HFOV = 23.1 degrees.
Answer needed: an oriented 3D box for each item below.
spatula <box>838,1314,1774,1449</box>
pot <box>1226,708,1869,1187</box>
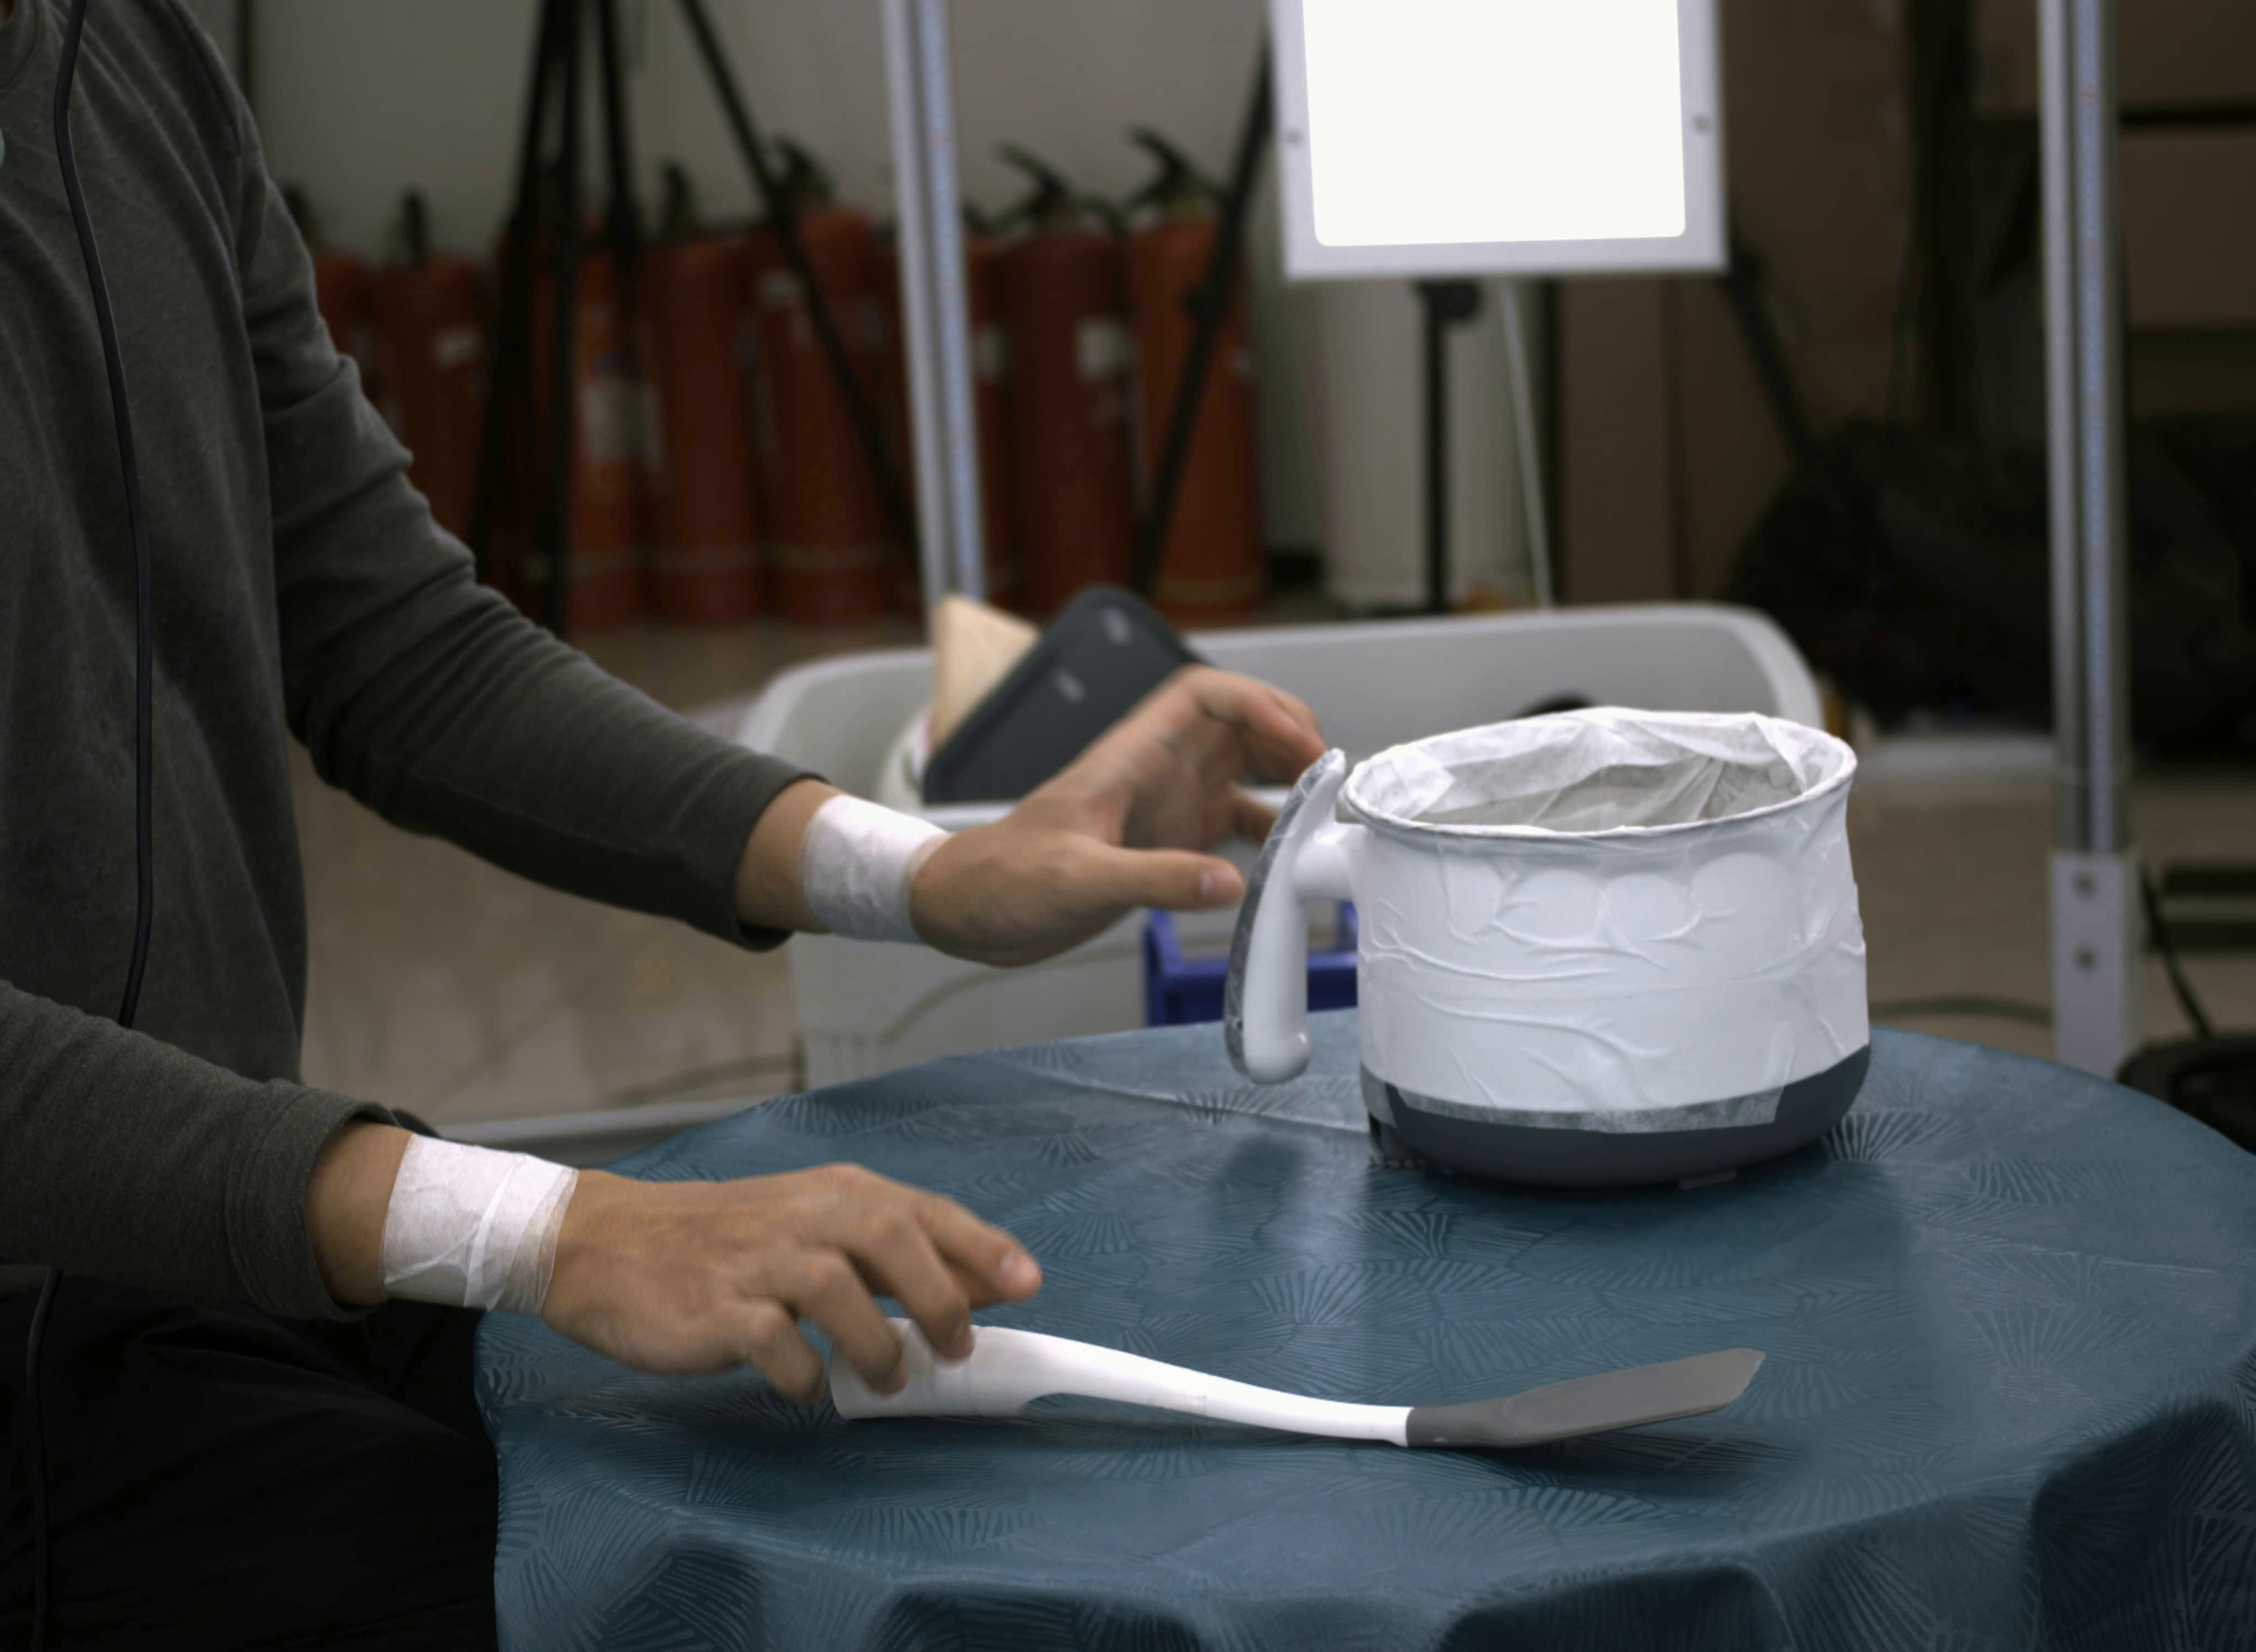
[{"bbox_3d":[0.051,0.167,1.645,0.292,0.032,0.057,0,12,22],"label":"spatula"},{"bbox_3d":[0.142,0.041,1.912,0.237,0.137,0.175,1,15,25],"label":"pot"}]
